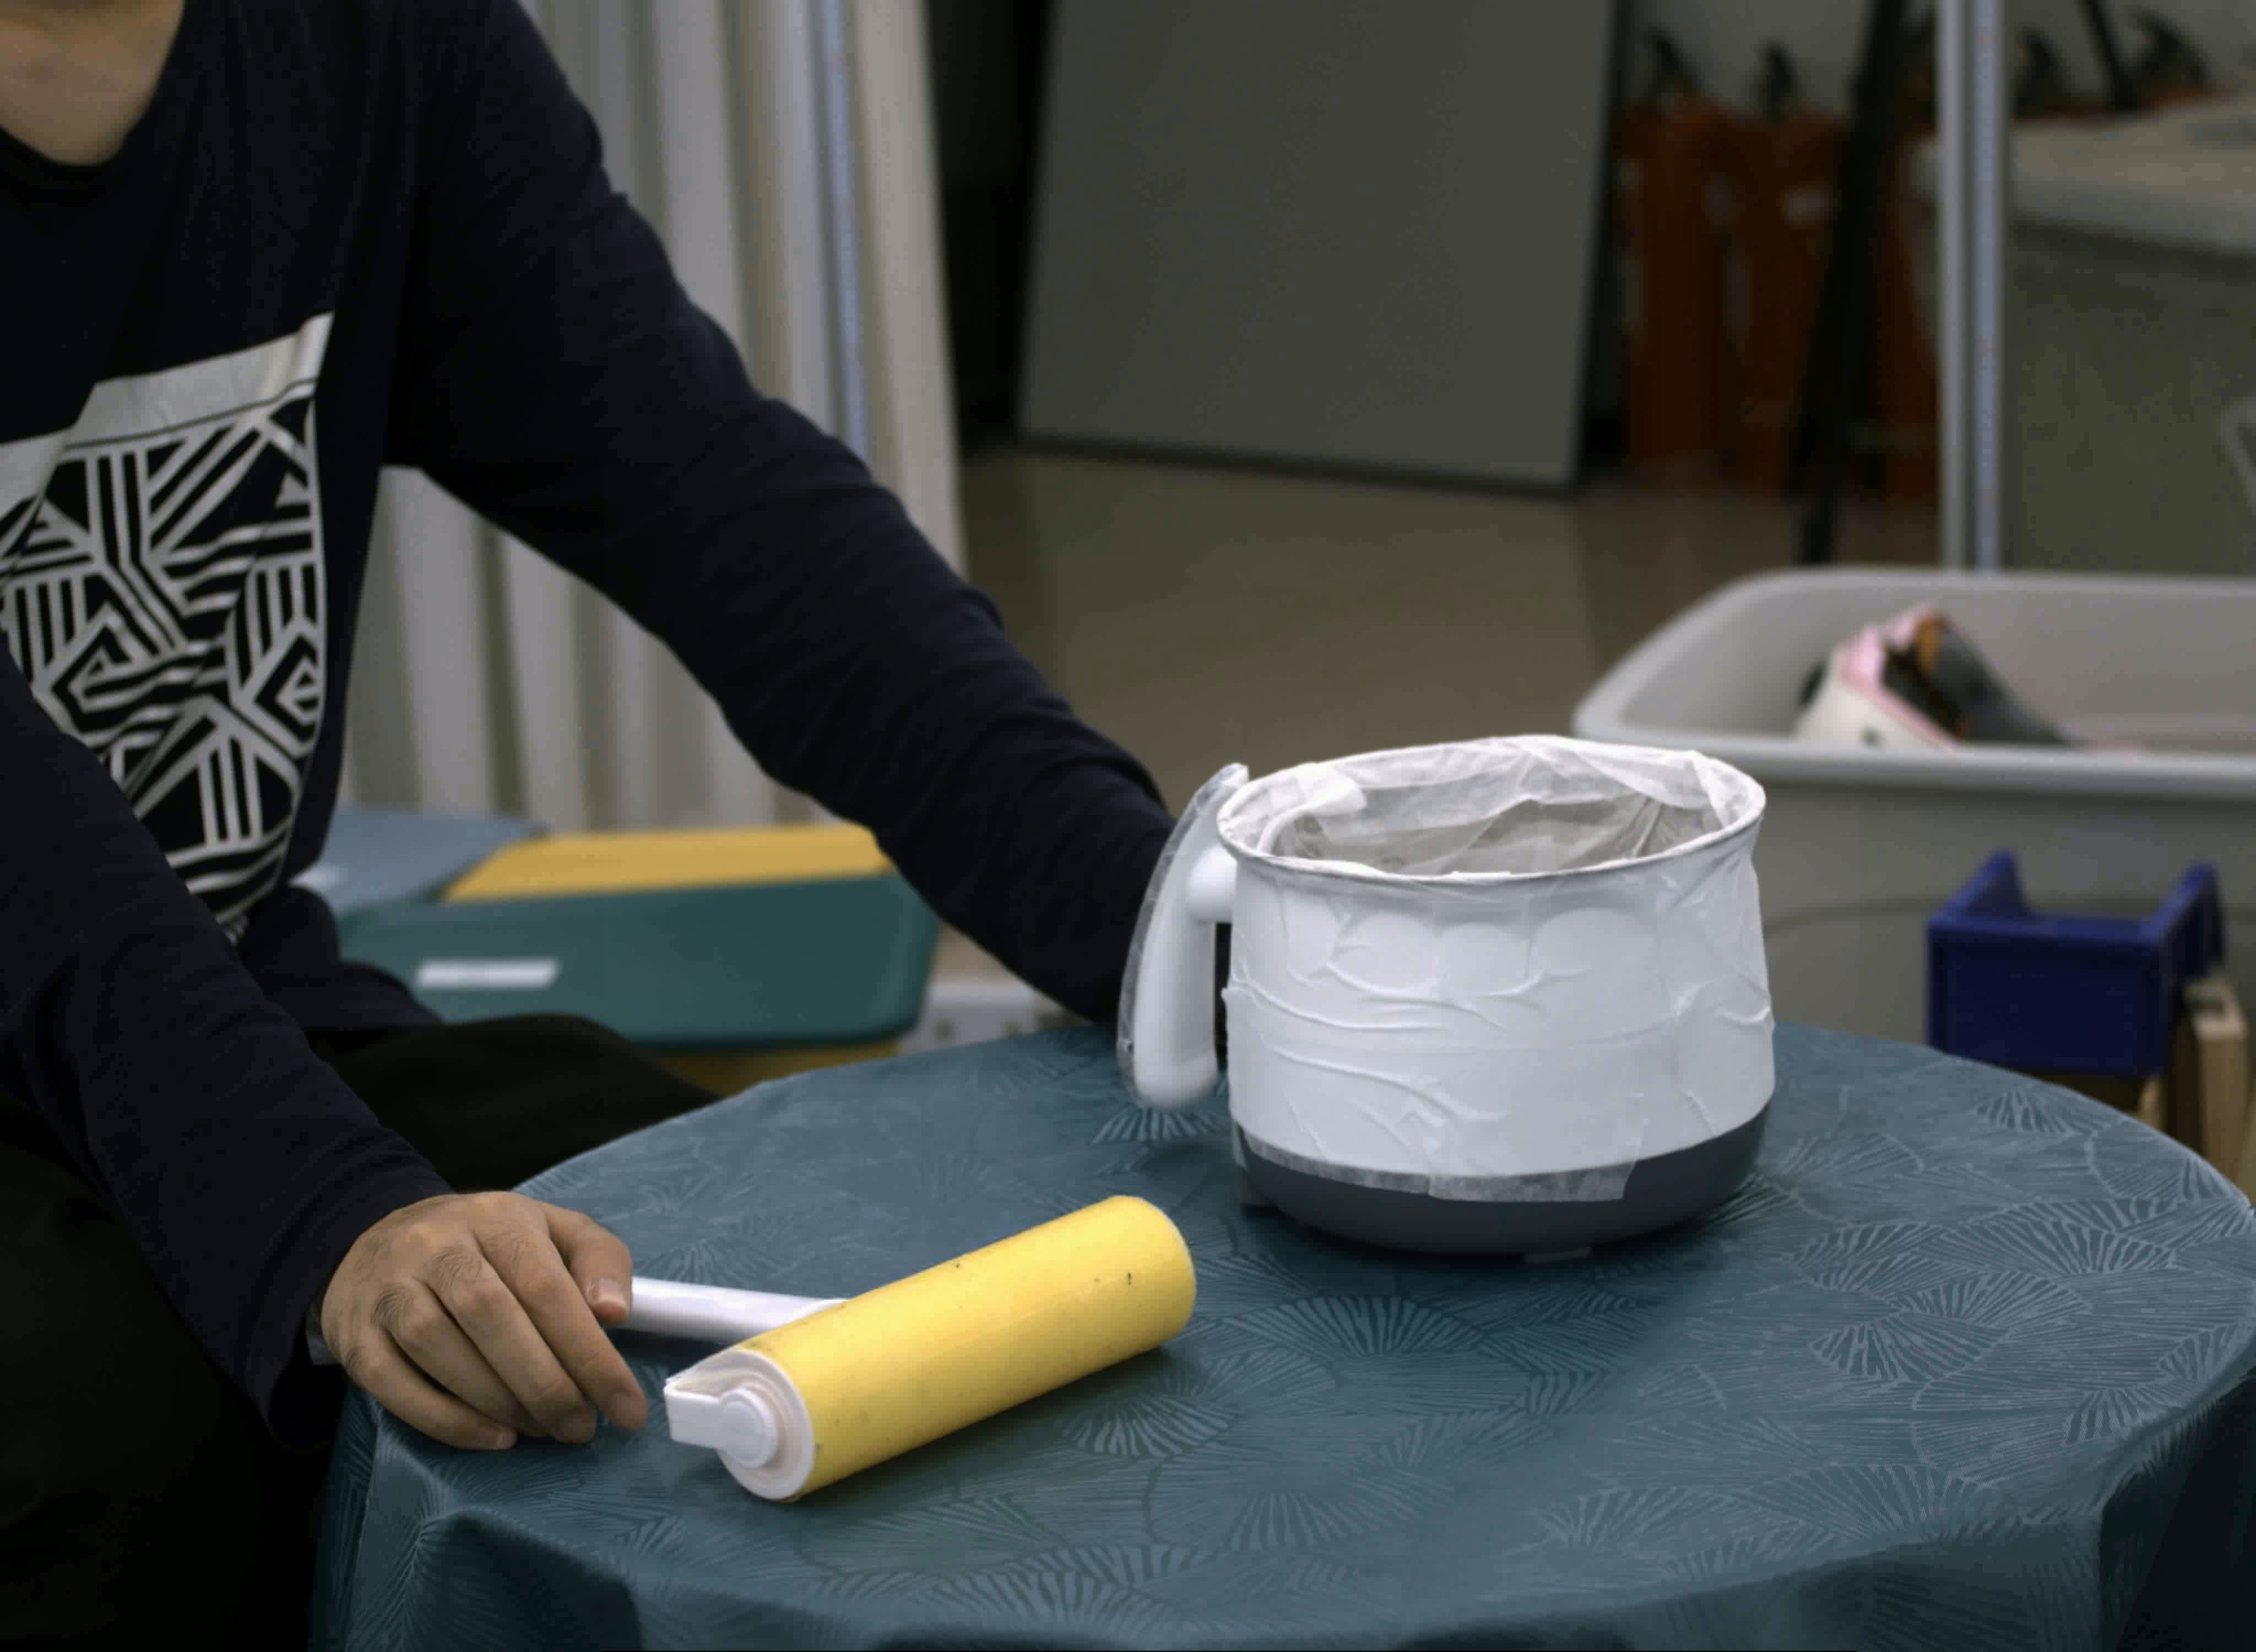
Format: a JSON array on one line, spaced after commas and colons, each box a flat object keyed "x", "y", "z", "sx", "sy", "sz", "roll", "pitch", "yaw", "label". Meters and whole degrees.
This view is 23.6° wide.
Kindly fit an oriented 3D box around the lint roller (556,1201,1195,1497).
[{"x": -0.103, "y": 0.143, "z": 1.614, "sx": 0.193, "sy": 0.052, "sz": 0.171, "roll": 10, "pitch": 18, "yaw": 42, "label": "lint roller"}]

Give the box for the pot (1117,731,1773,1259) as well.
[{"x": 0.096, "y": 0.049, "z": 1.740, "sx": 0.235, "sy": 0.138, "sz": 0.175, "roll": 7, "pitch": 15, "yaw": 34, "label": "pot"}]
